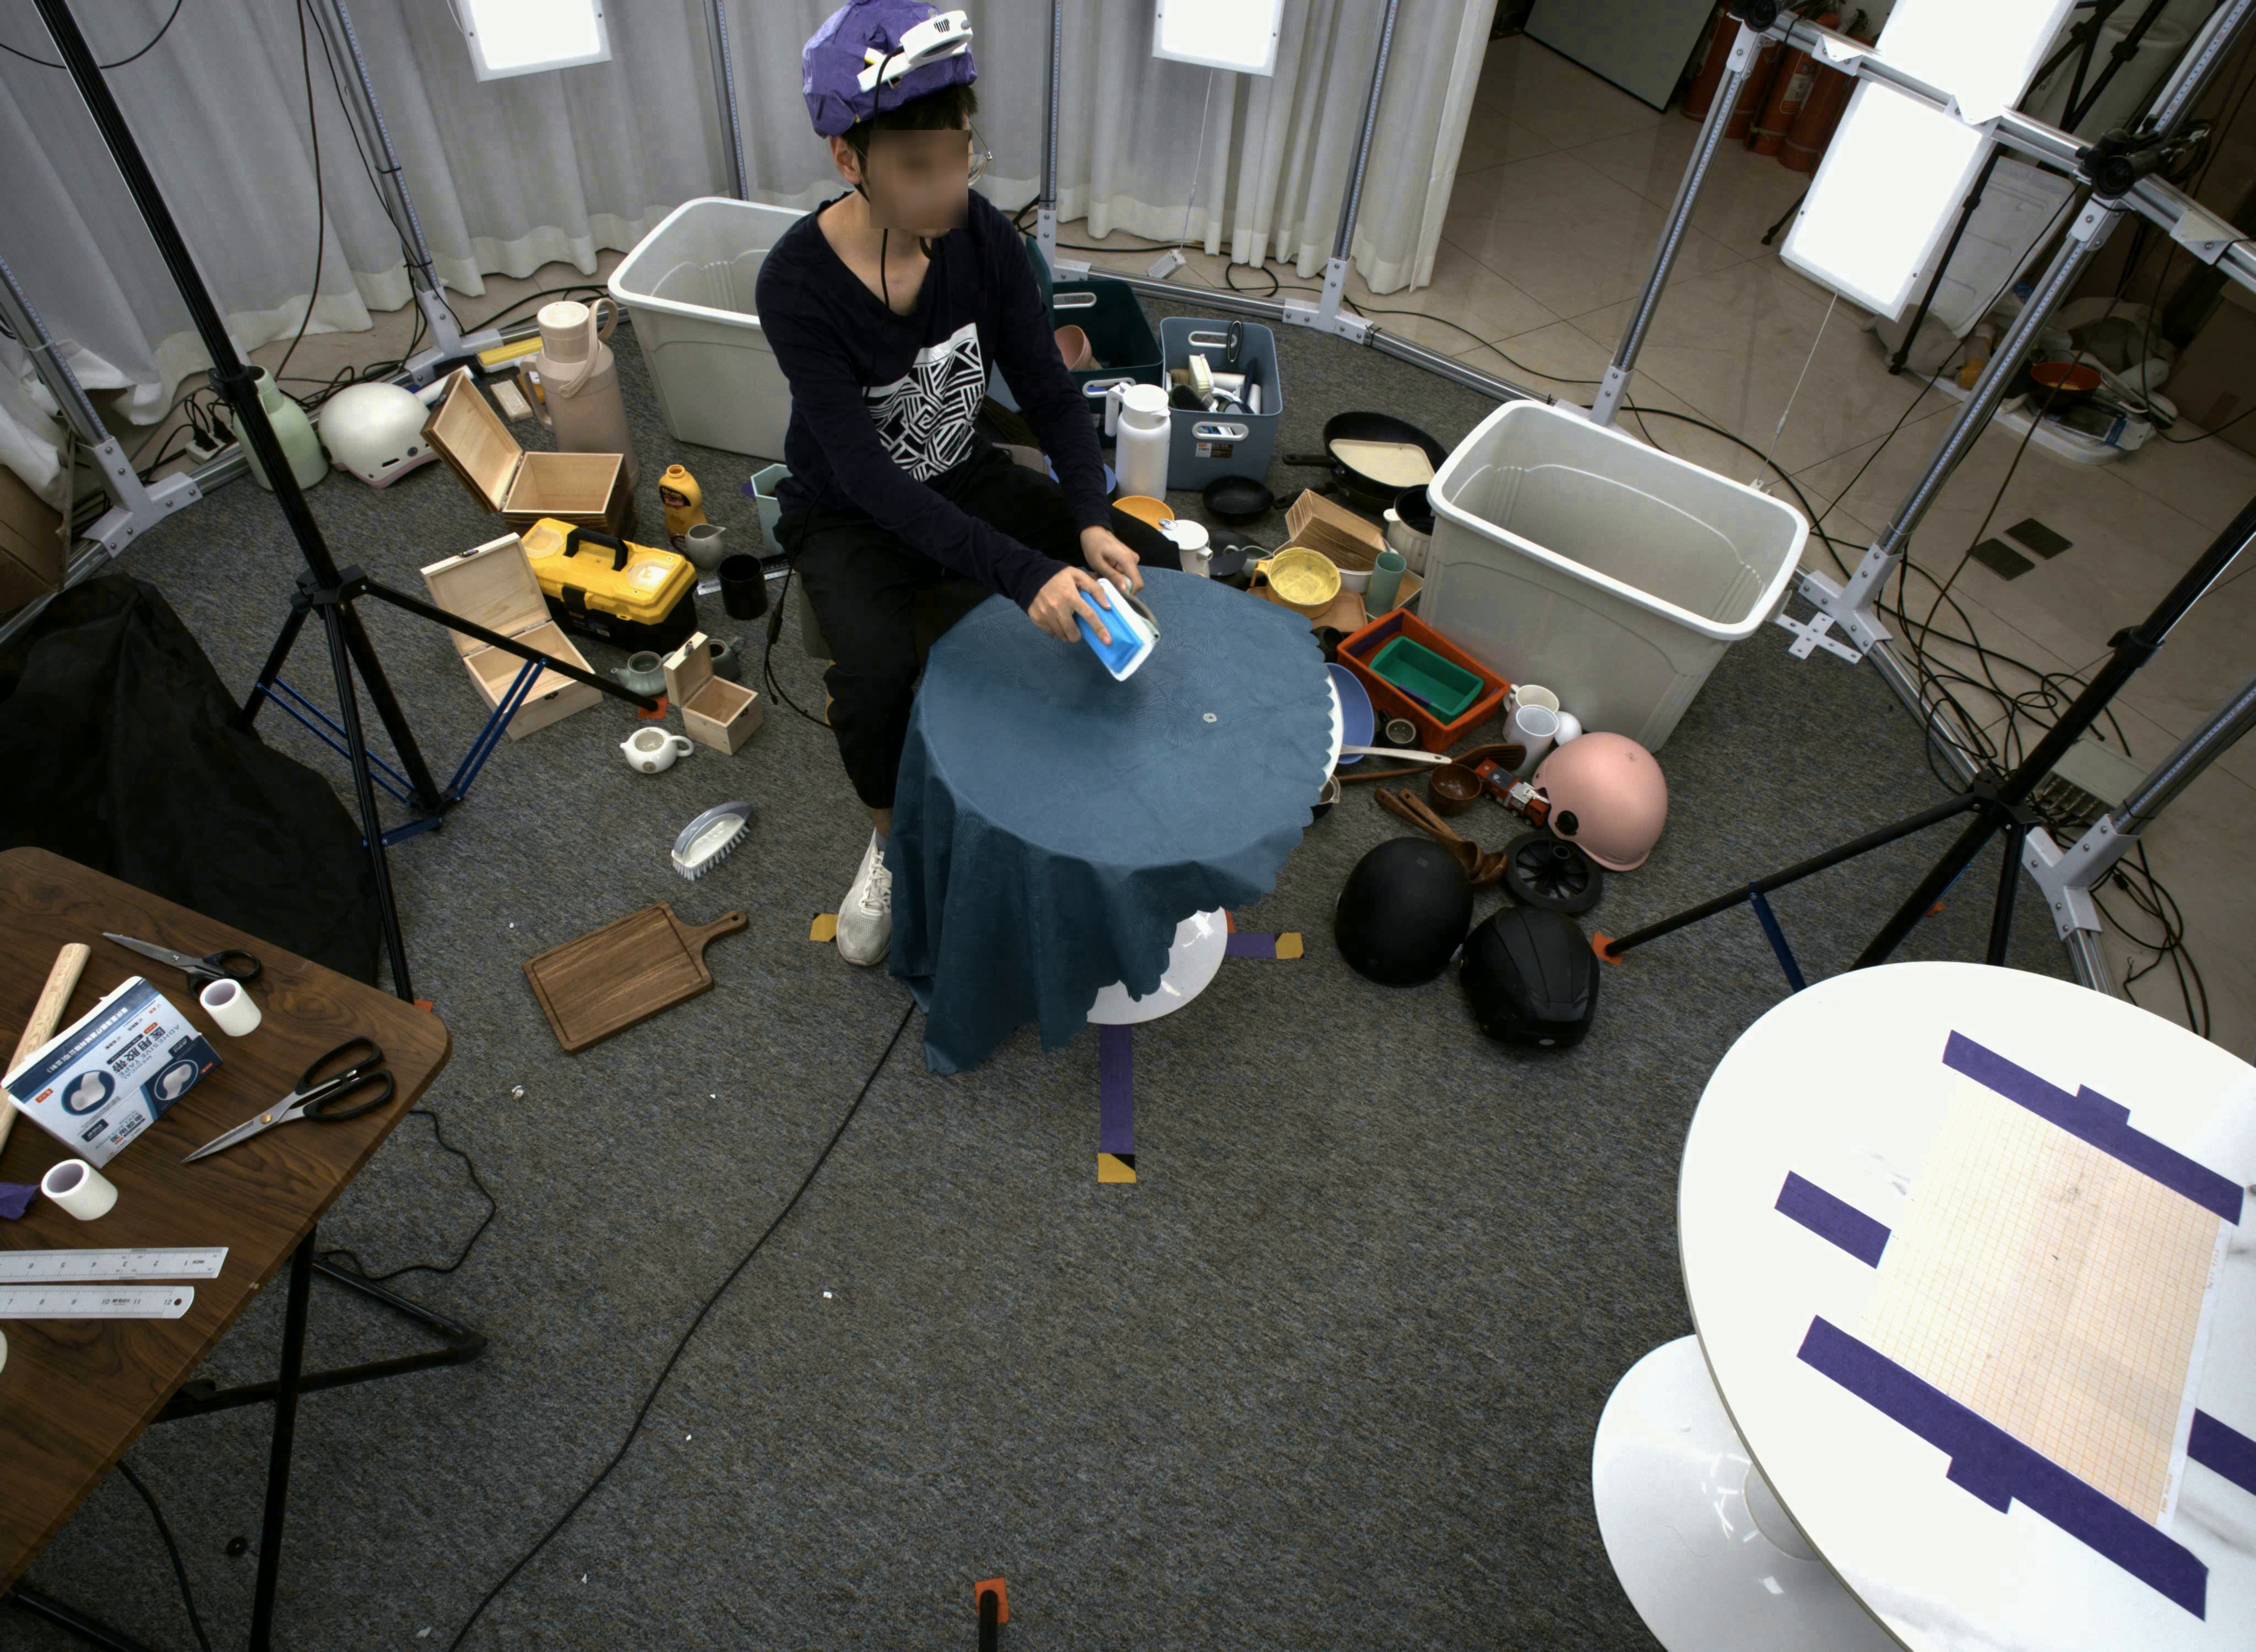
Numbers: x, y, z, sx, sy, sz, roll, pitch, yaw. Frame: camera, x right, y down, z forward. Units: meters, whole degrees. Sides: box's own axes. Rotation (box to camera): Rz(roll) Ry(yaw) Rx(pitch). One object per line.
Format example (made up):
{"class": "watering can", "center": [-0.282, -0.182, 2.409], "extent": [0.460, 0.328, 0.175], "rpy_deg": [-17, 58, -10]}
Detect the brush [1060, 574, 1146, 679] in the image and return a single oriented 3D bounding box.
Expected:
{"class": "brush", "center": [-0.041, -0.273, 1.740], "extent": [0.055, 0.083, 0.146], "rpy_deg": [7, 43, -57]}

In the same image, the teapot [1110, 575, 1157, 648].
{"class": "teapot", "center": [-0.005, -0.285, 1.802], "extent": [0.087, 0.074, 0.147], "rpy_deg": [23, 34, -39]}
